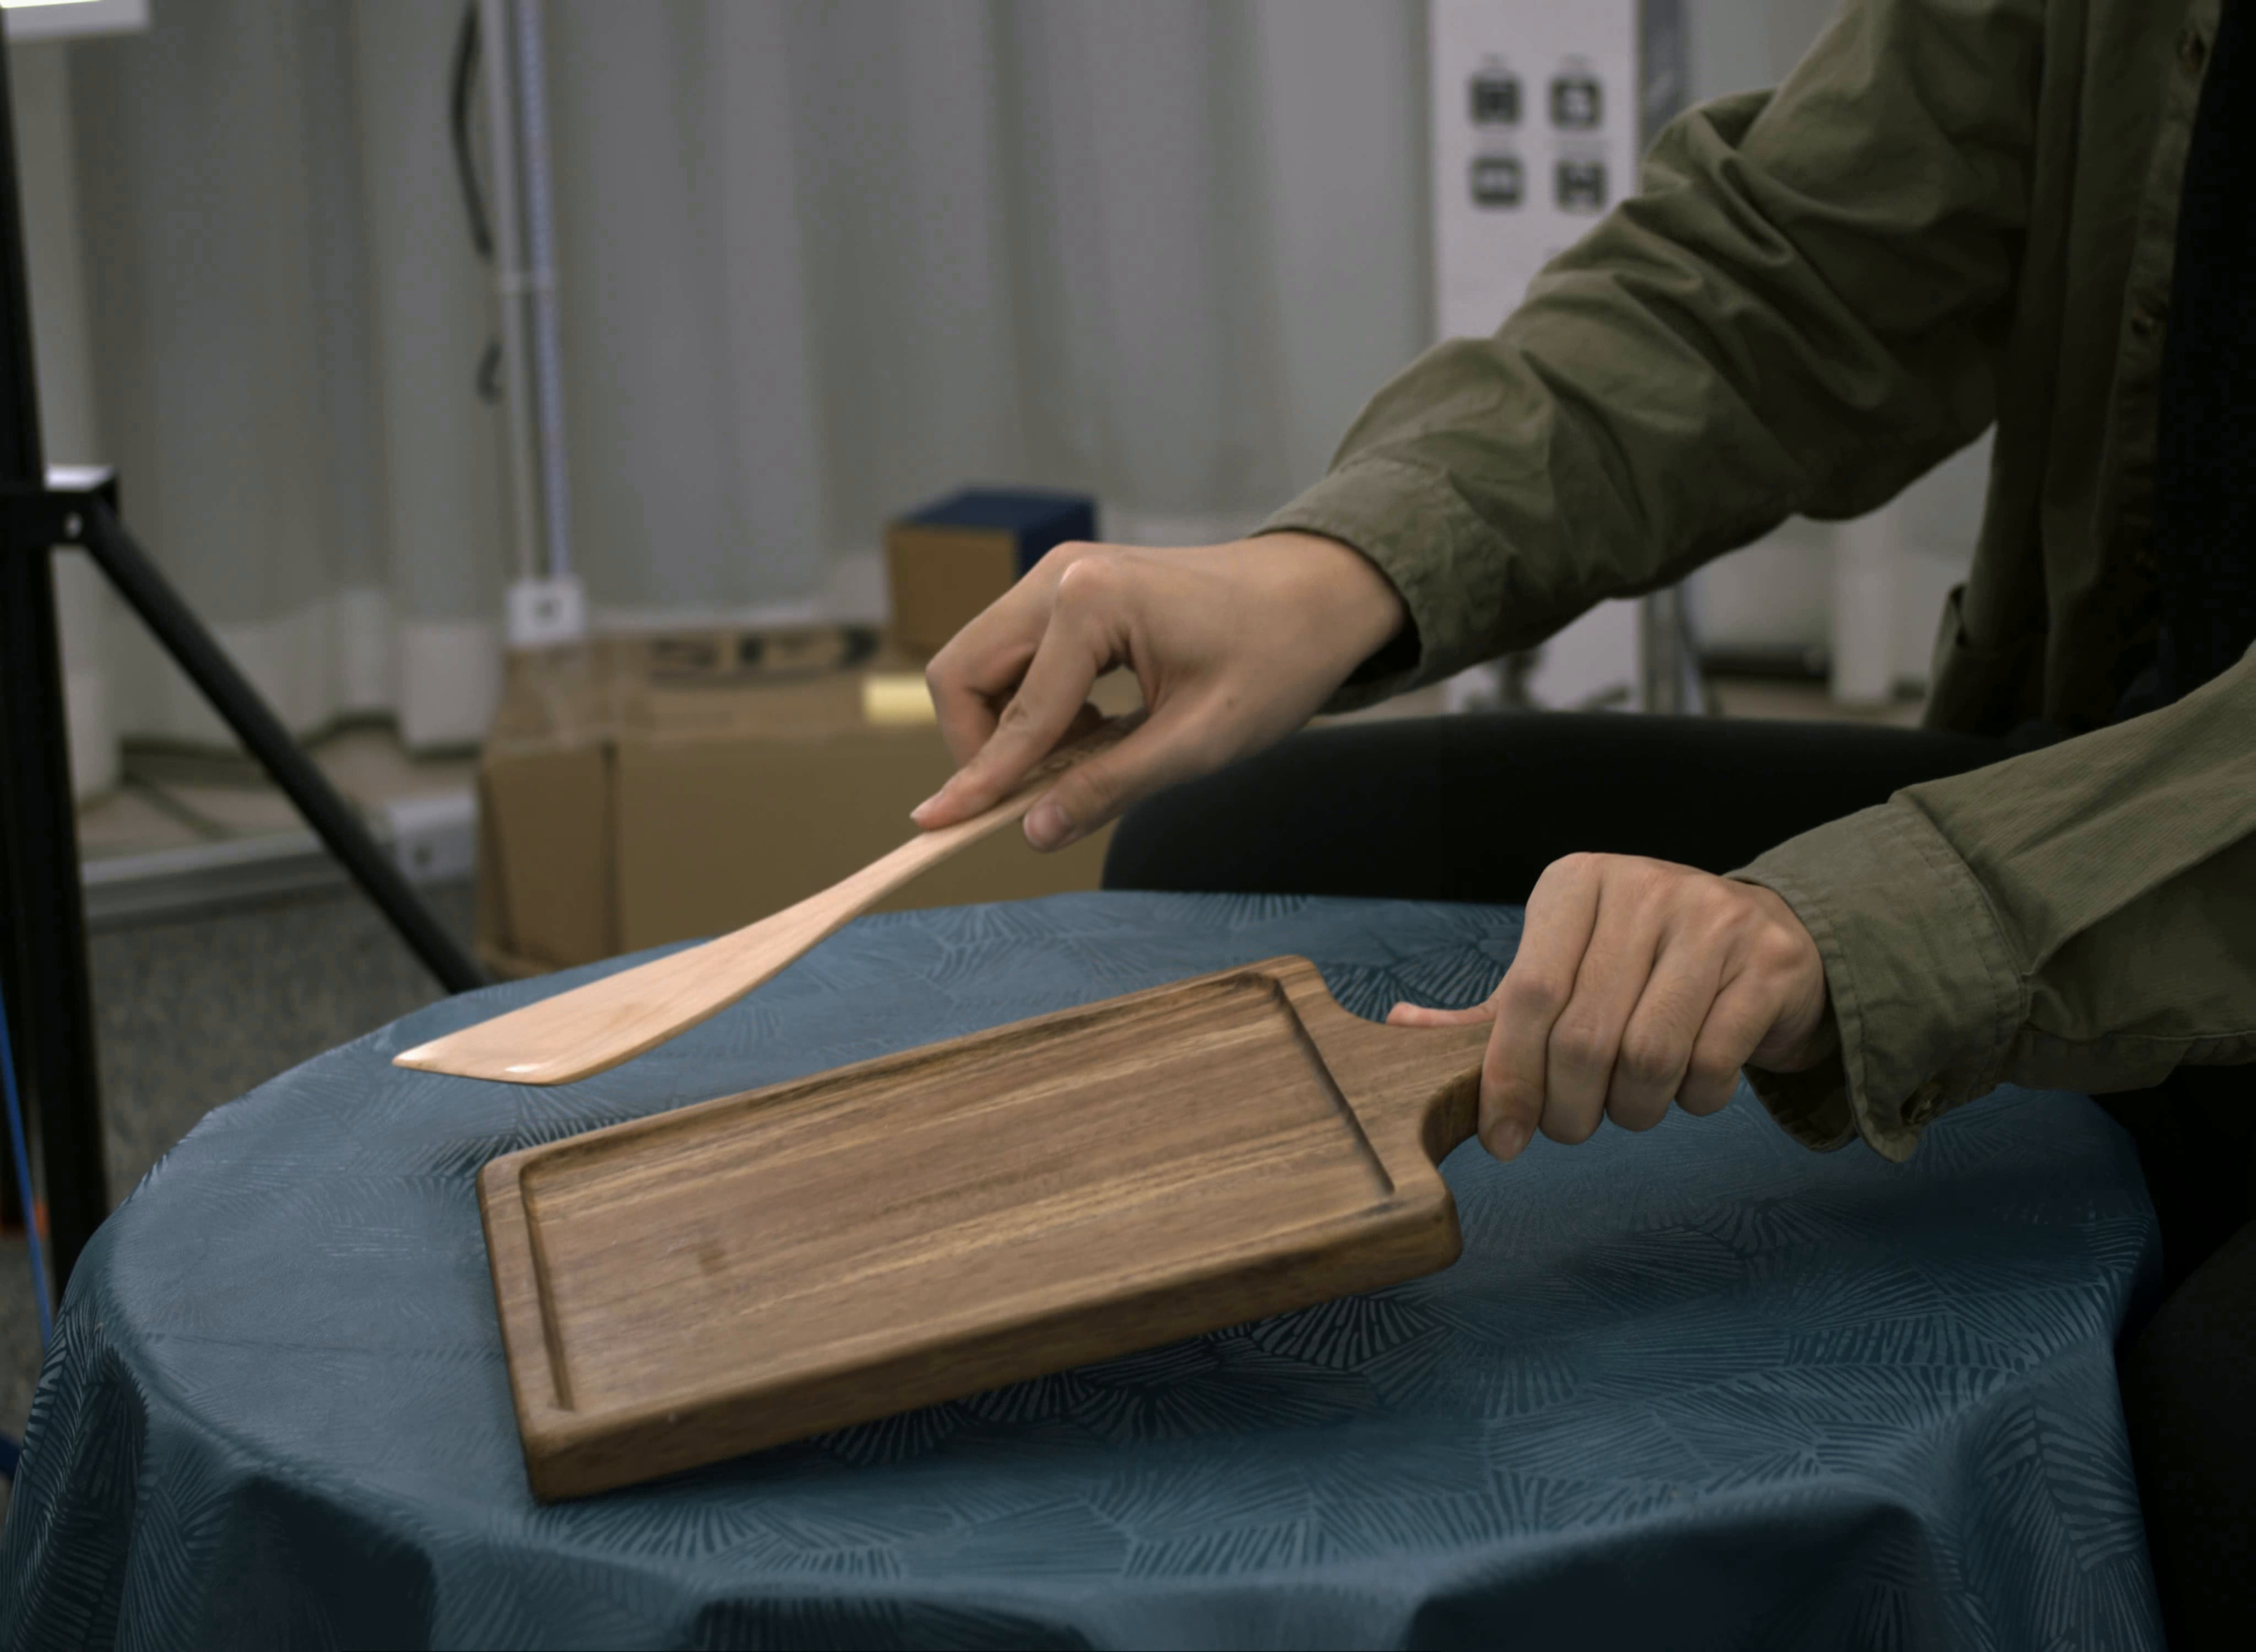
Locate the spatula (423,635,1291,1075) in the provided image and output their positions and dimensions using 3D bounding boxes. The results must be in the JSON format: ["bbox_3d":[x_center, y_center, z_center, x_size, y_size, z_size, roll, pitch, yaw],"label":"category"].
[{"bbox_3d":[-0.071,0.007,1.675,0.322,0.016,0.082,-31,24,-29],"label":"spatula"}]

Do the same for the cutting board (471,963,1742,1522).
[{"bbox_3d":[-0.002,0.097,1.443,0.350,0.023,0.203,-14,21,-3],"label":"cutting board"}]
